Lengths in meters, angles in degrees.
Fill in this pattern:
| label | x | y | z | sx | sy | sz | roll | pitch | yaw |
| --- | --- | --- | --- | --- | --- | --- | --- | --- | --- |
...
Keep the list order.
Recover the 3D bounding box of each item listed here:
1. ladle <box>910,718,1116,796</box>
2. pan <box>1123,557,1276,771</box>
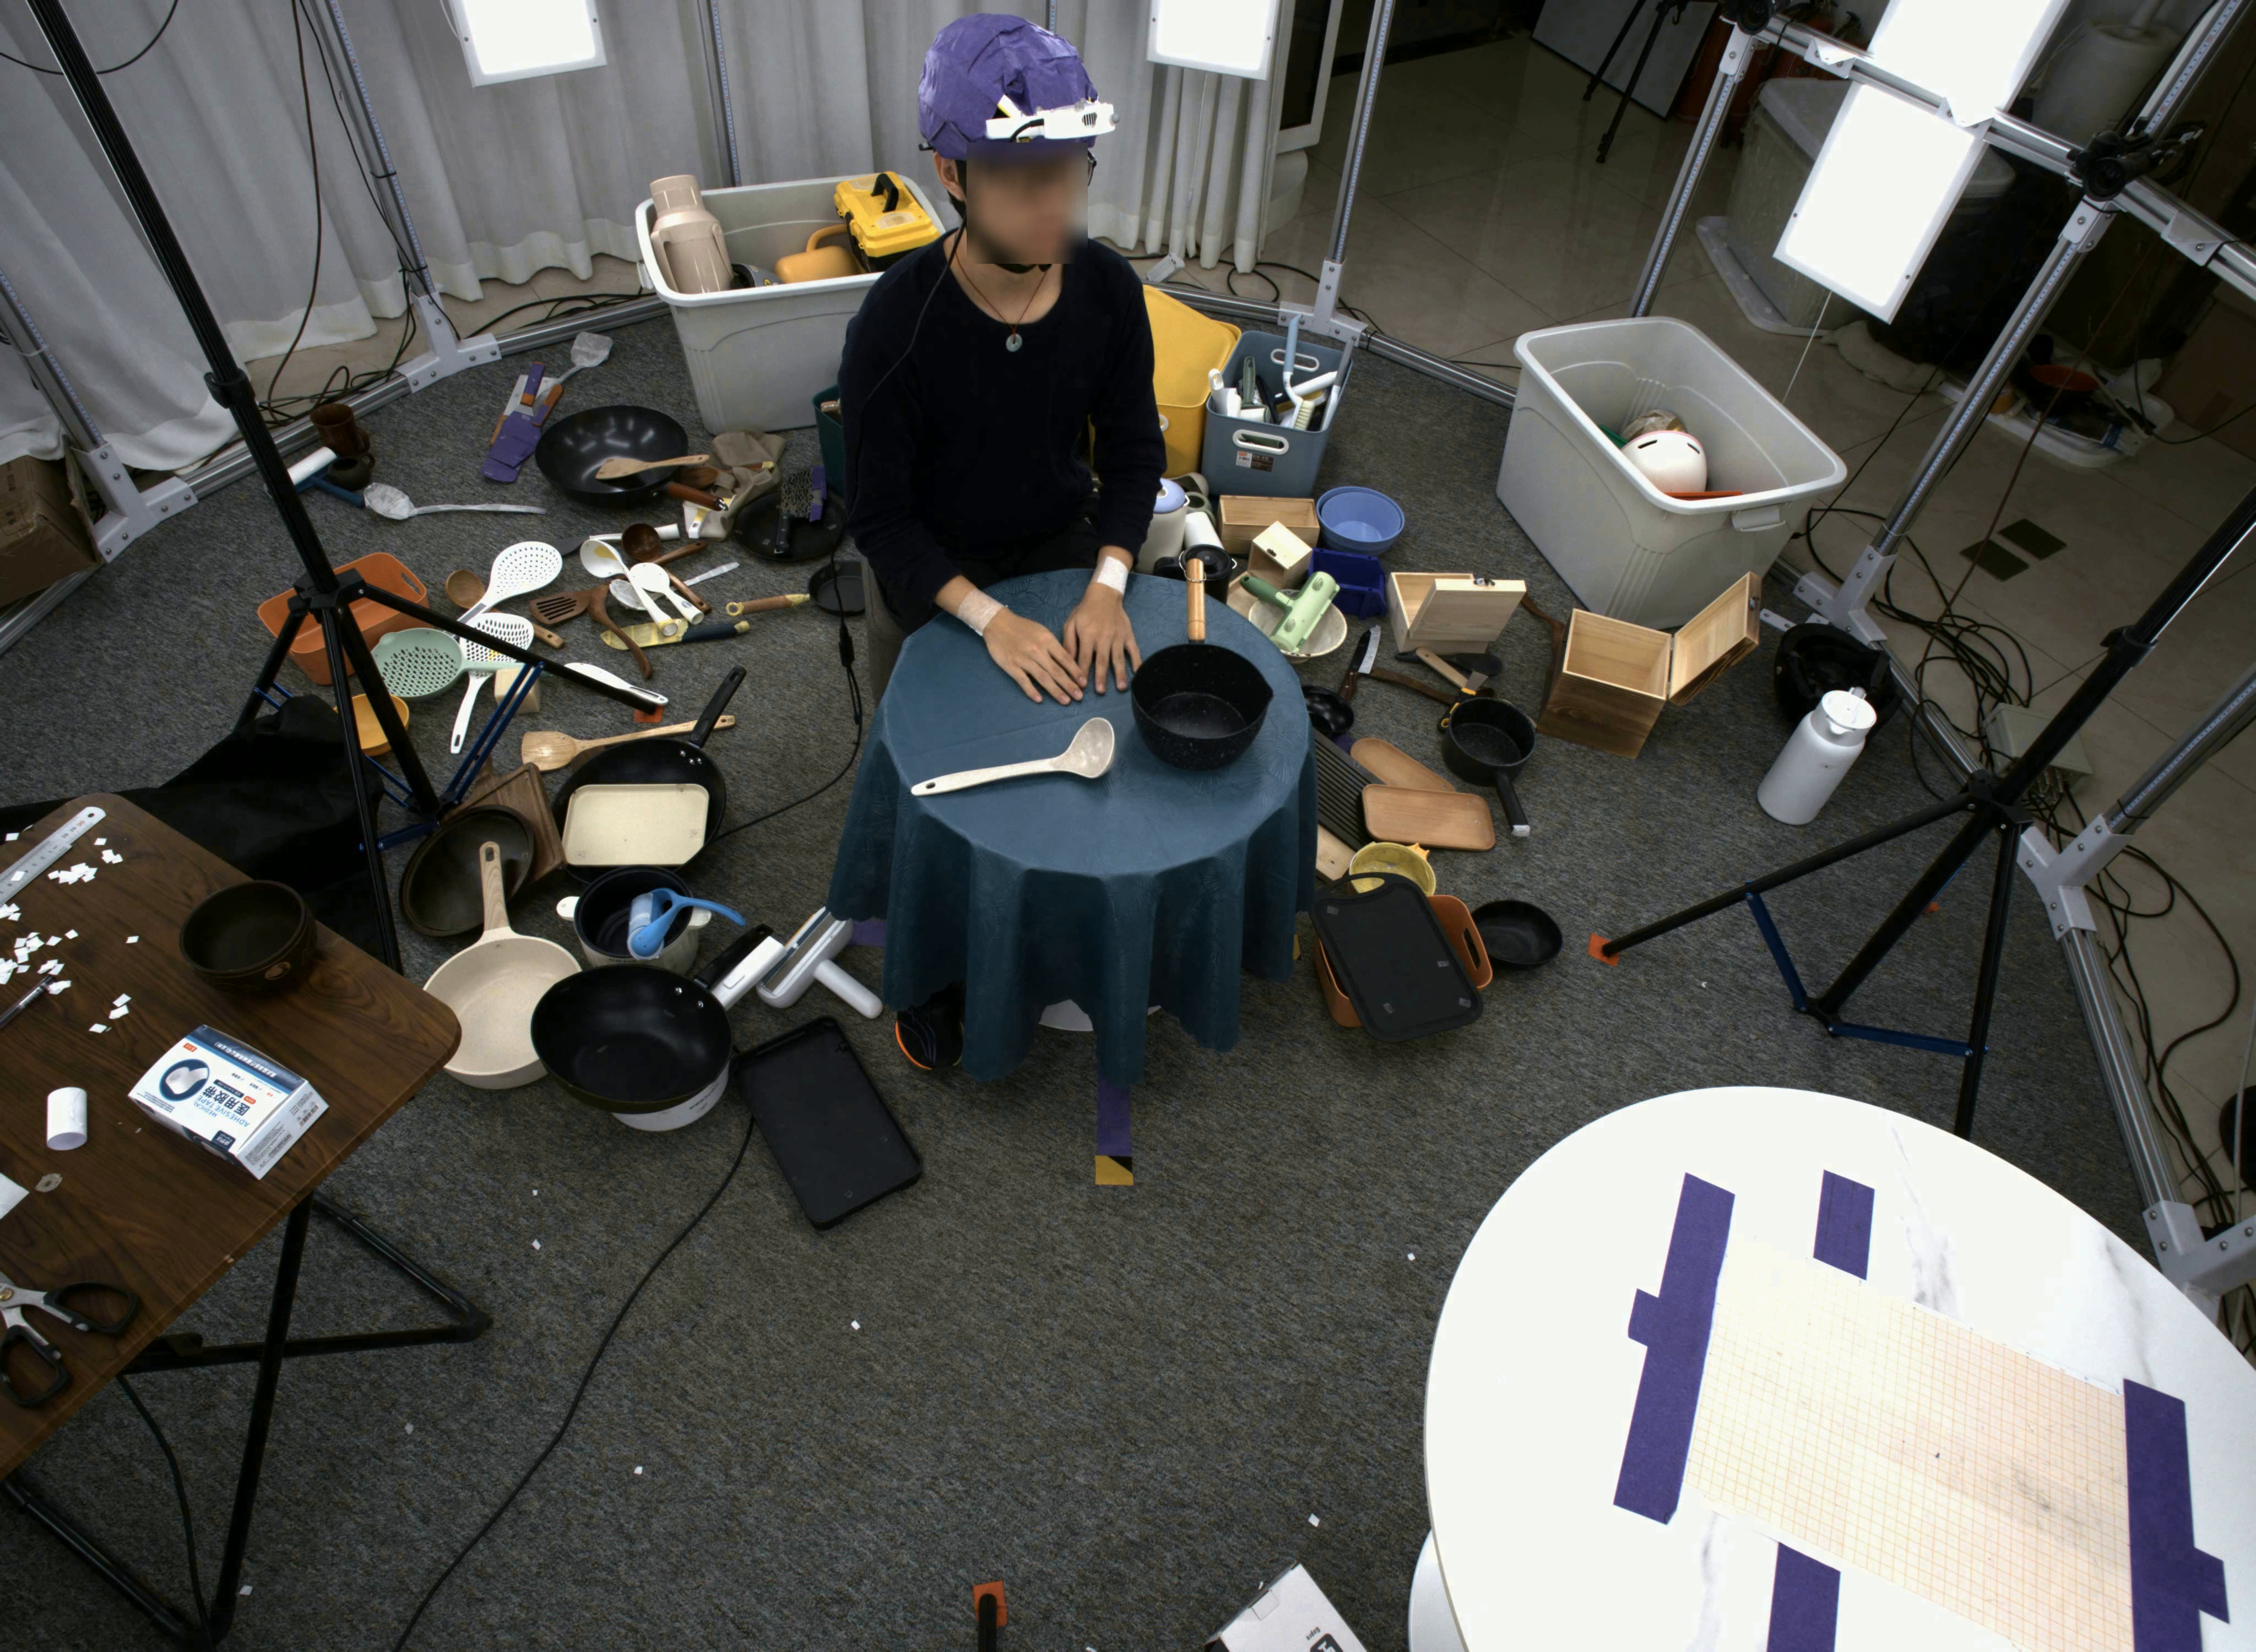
| label | x | y | z | sx | sy | sz | roll | pitch | yaw |
| --- | --- | --- | --- | --- | --- | --- | --- | --- | --- |
| ladle | -0.151 | -0.086 | 1.690 | 0.274 | 0.068 | 0.091 | -9 | 56 | -11 |
| pan | 0.094 | -0.228 | 1.803 | 0.207 | 0.105 | 0.351 | 0 | 50 | -2 |
